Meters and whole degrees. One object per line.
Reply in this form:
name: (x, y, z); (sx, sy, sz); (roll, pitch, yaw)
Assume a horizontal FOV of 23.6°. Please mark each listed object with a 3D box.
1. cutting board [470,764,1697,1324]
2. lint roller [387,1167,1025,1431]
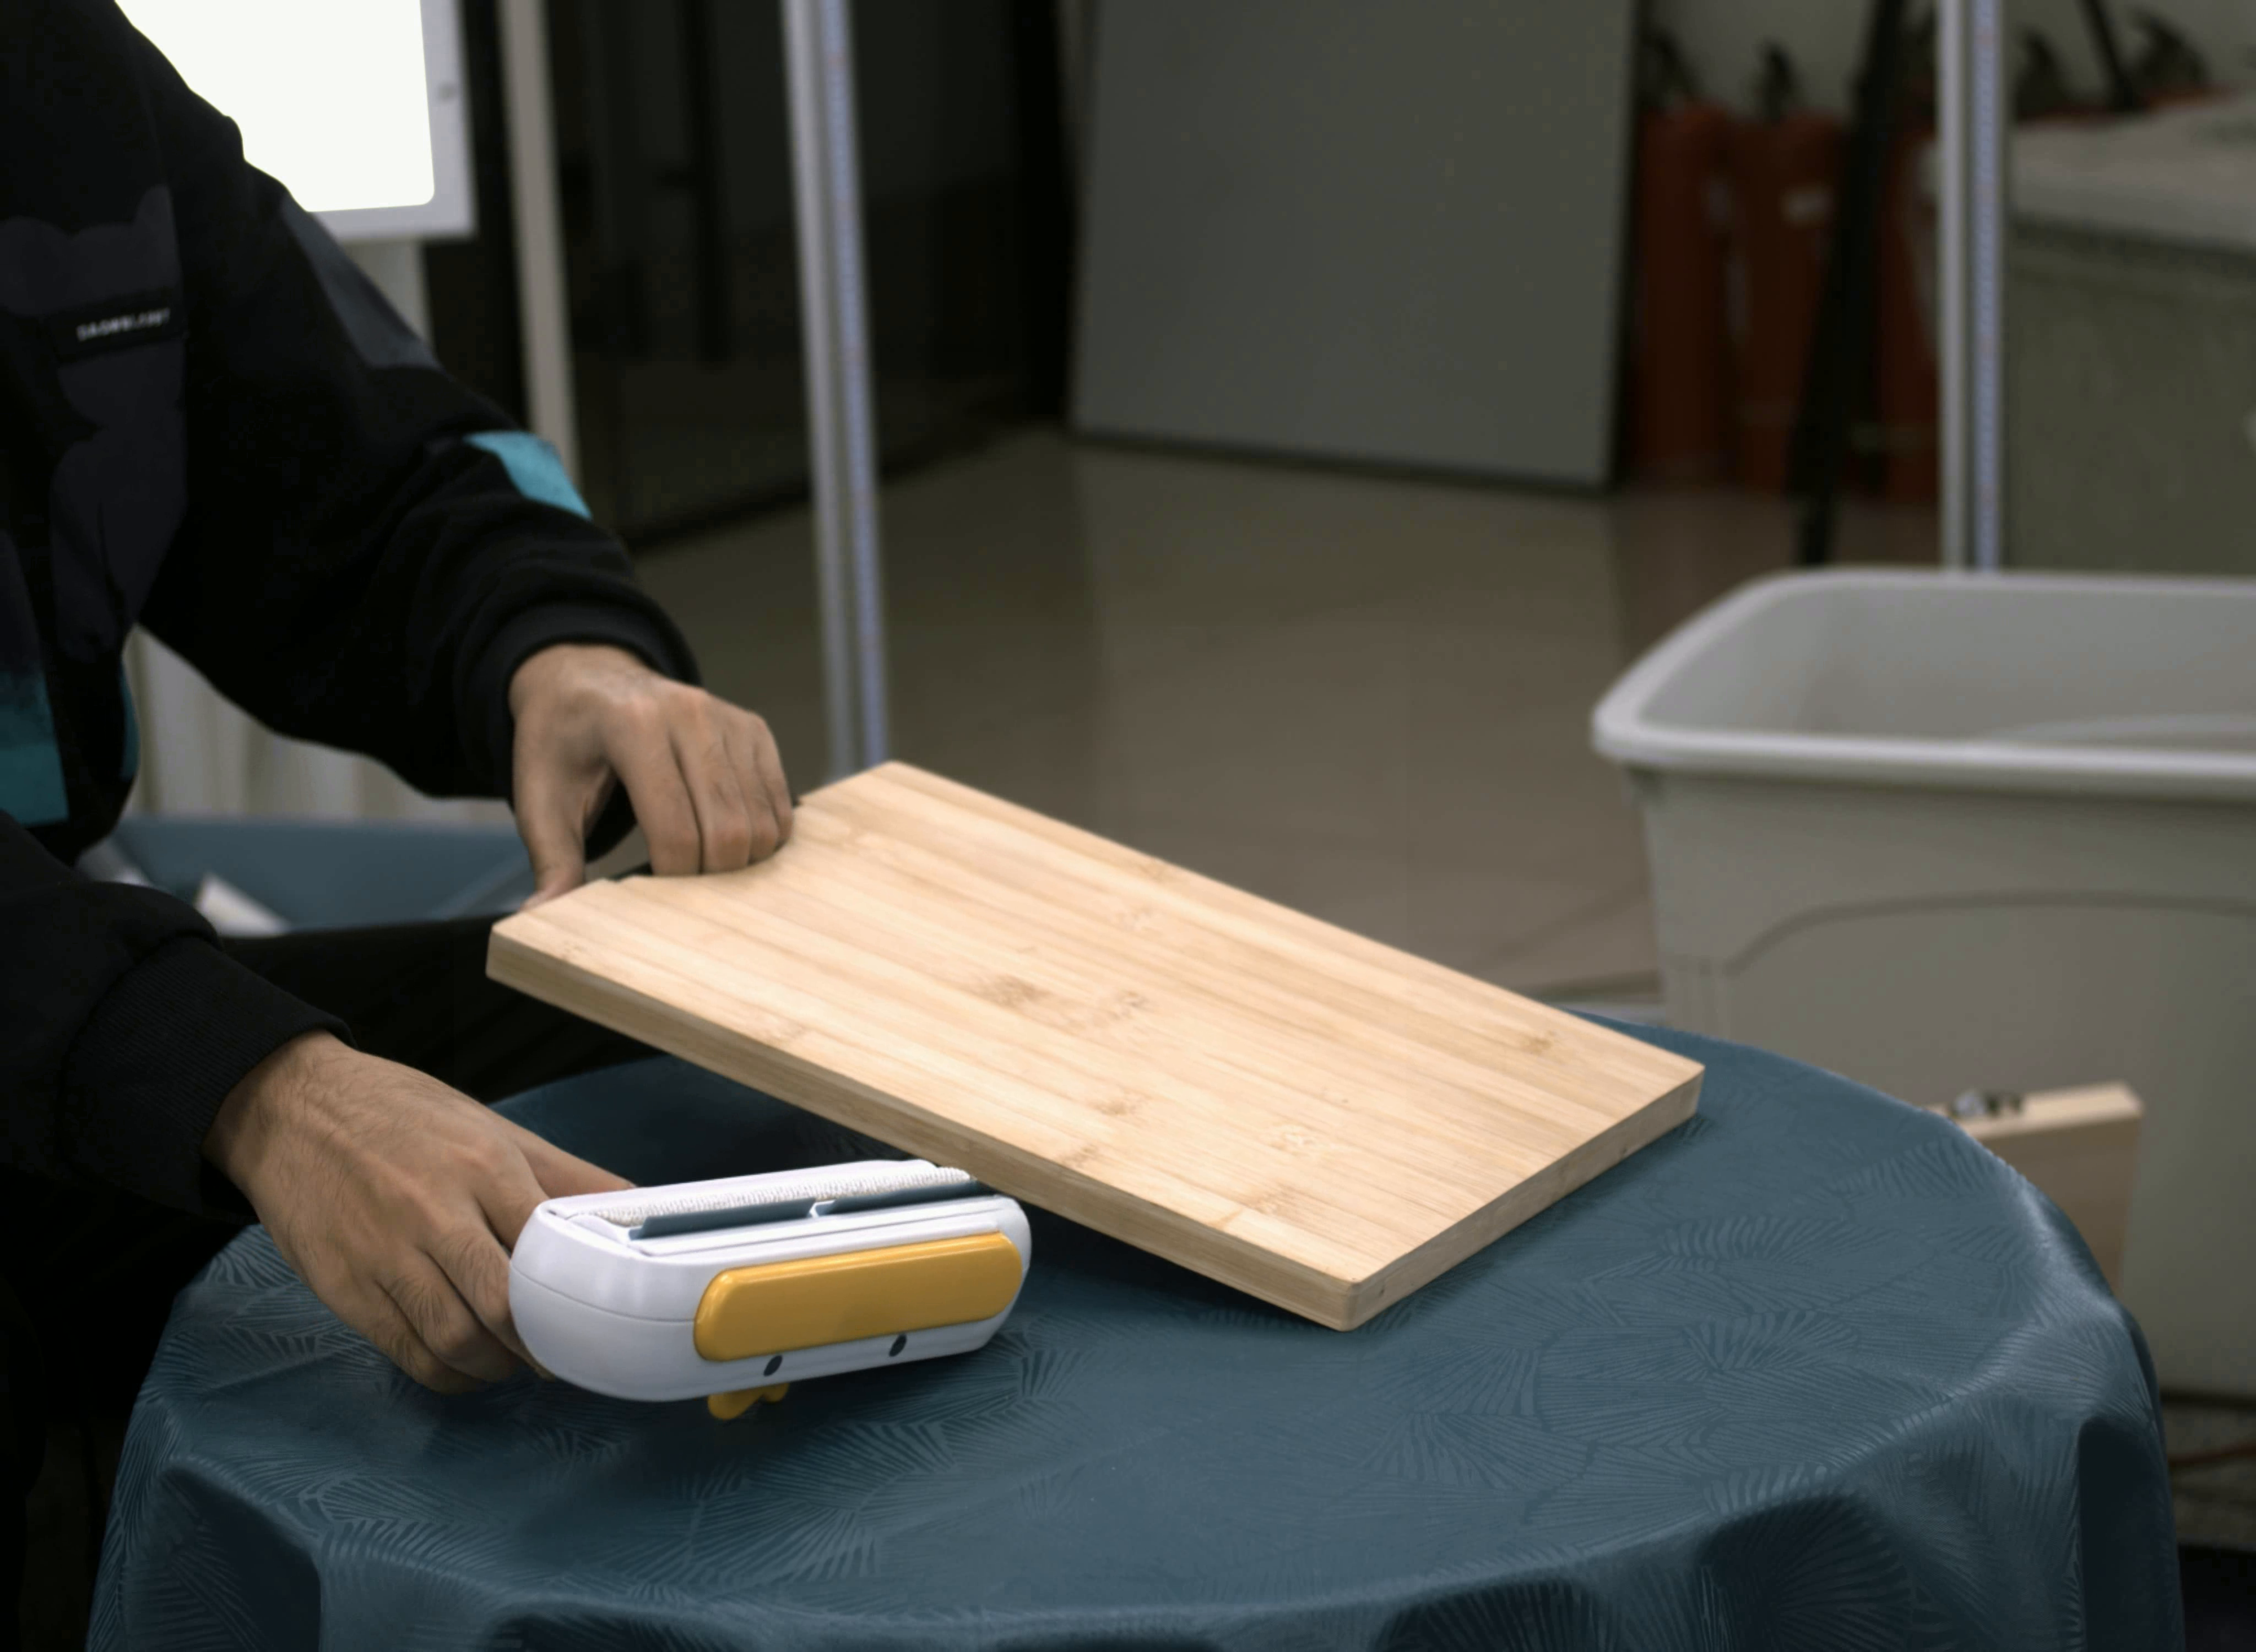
cutting board: (-0.014, 0.066, 1.801); (0.350, 0.024, 0.246); (20, 24, 28)
lint roller: (-0.151, 0.133, 1.619); (0.194, 0.075, 0.189); (7, 10, 41)
